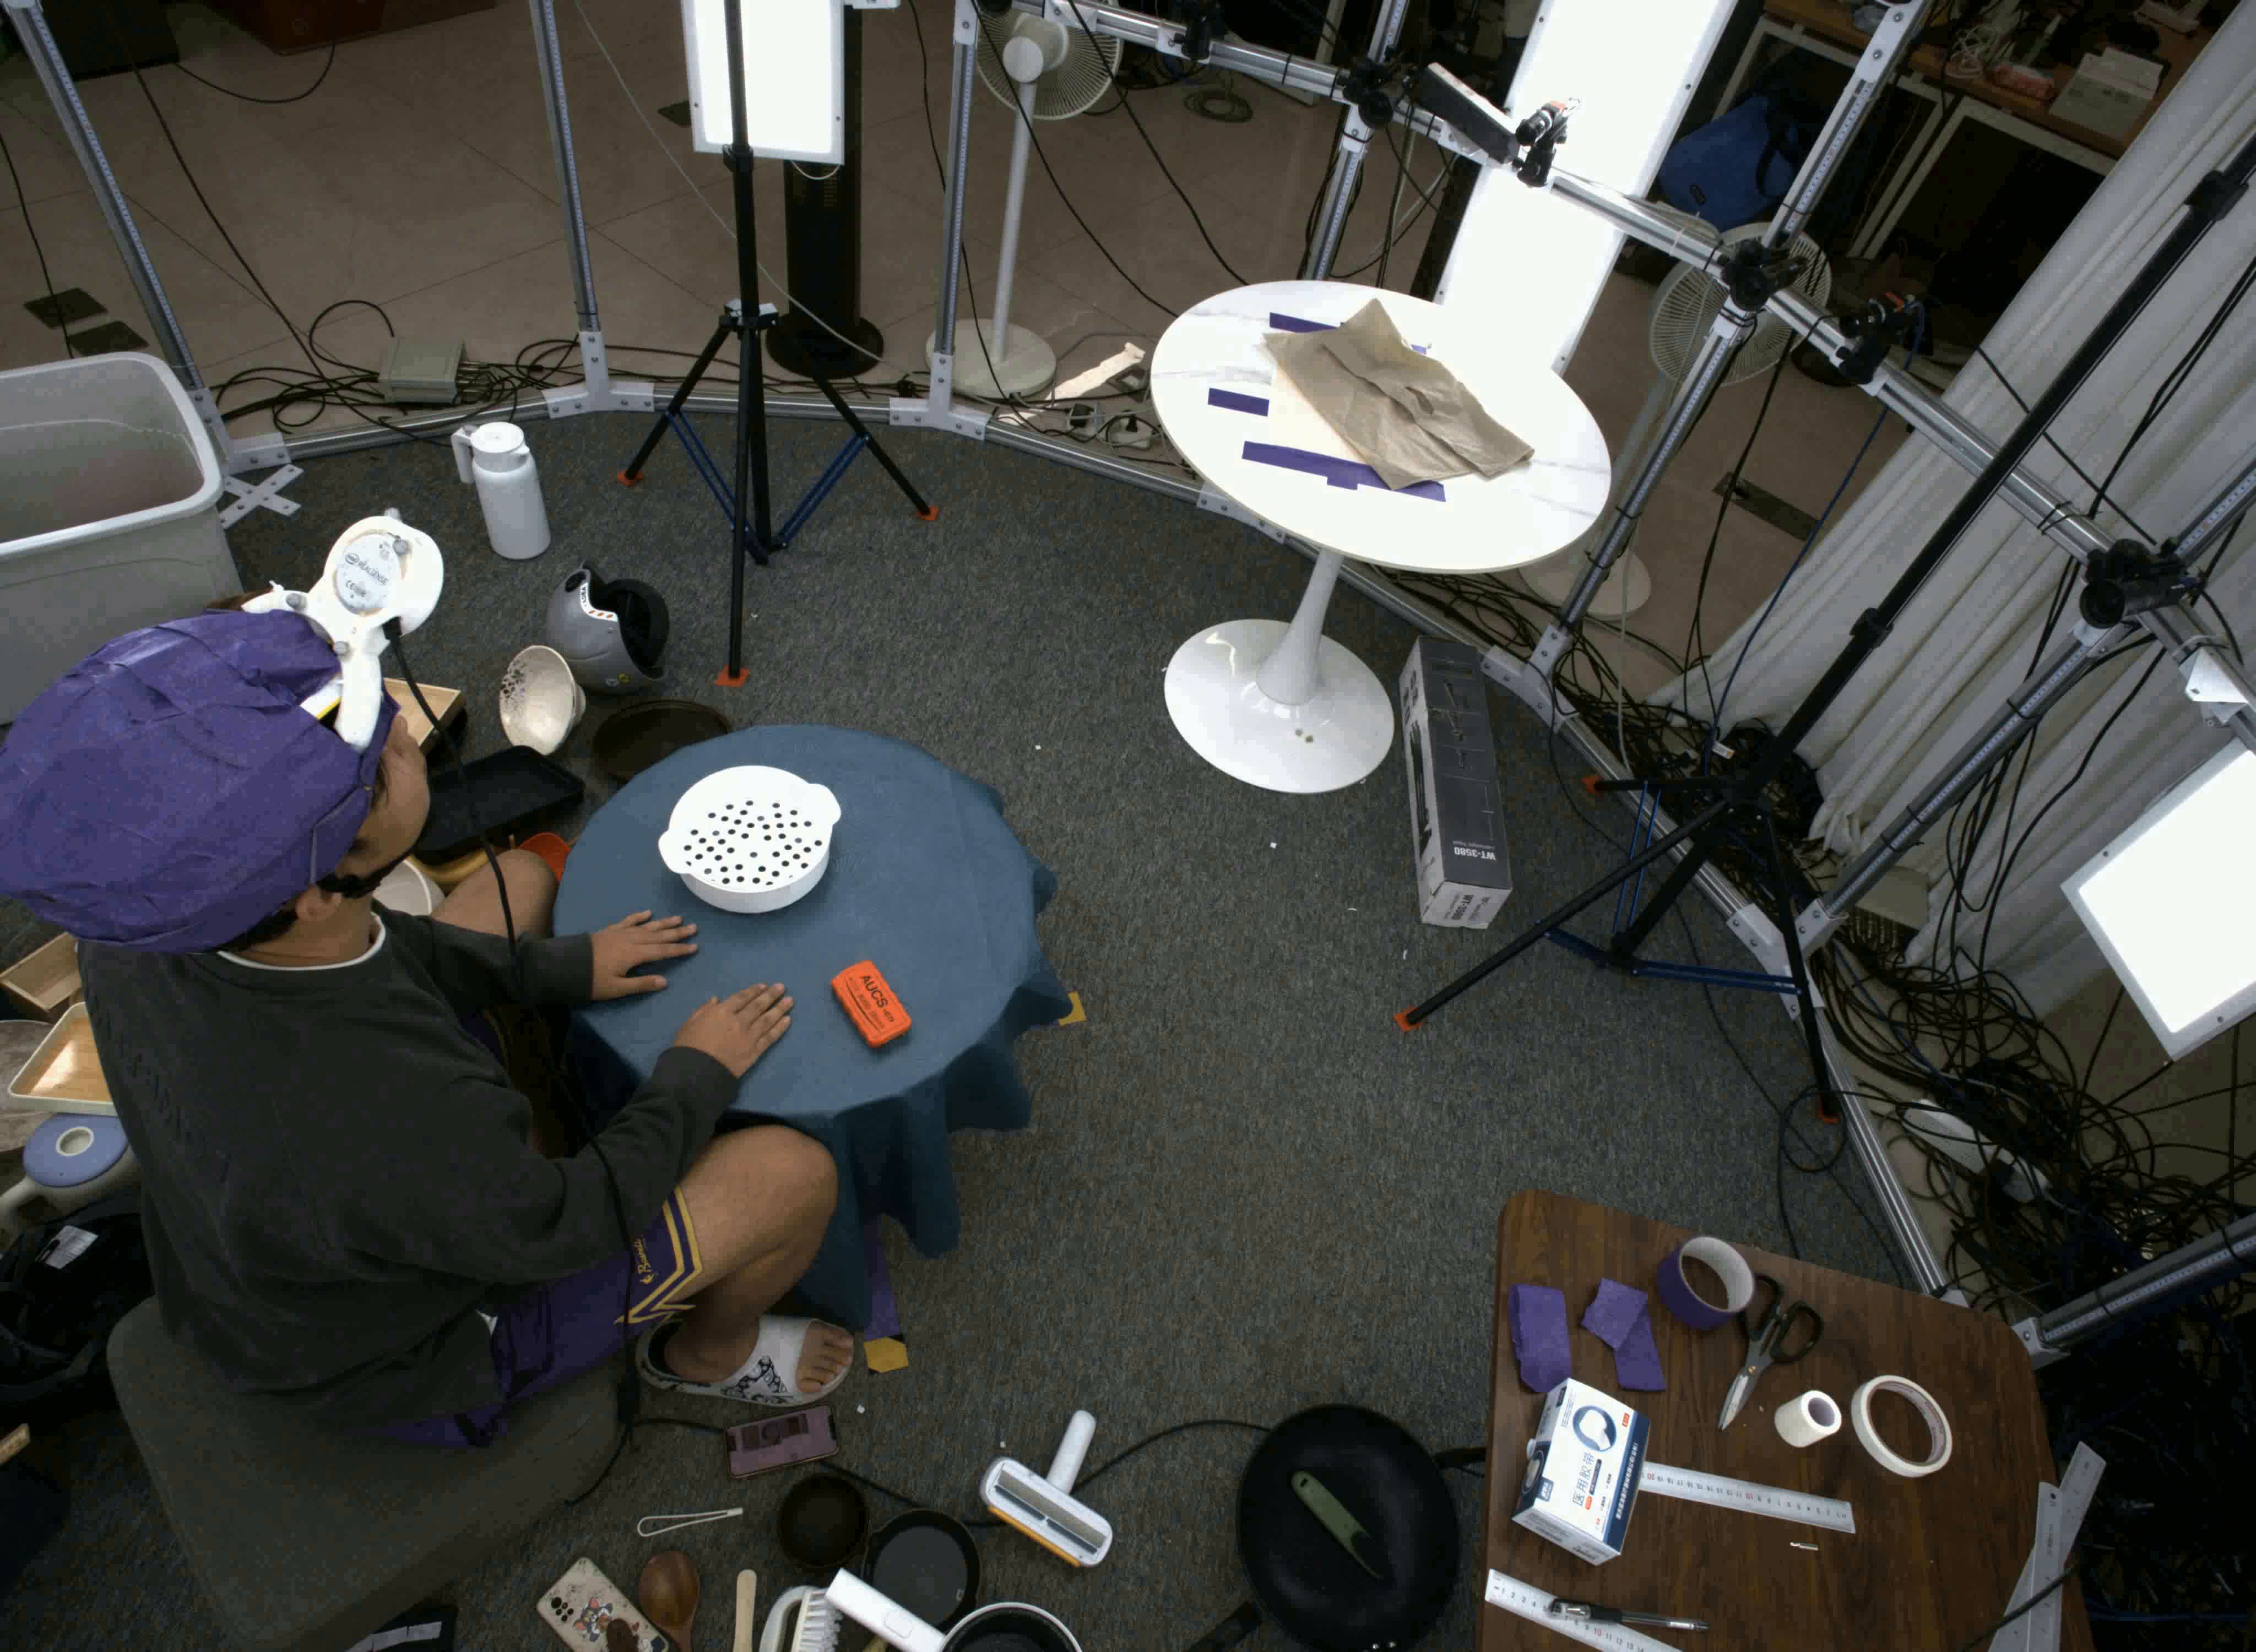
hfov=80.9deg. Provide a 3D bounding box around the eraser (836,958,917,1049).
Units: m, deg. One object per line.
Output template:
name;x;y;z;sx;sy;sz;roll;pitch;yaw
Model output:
eraser;-0.306;0.213;1.581;0.059;0.023;0.105;-30;67;-24

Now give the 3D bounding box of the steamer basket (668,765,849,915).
steamer basket;-0.471;0.017;1.663;0.232;0.070;0.197;-21;62;-28
